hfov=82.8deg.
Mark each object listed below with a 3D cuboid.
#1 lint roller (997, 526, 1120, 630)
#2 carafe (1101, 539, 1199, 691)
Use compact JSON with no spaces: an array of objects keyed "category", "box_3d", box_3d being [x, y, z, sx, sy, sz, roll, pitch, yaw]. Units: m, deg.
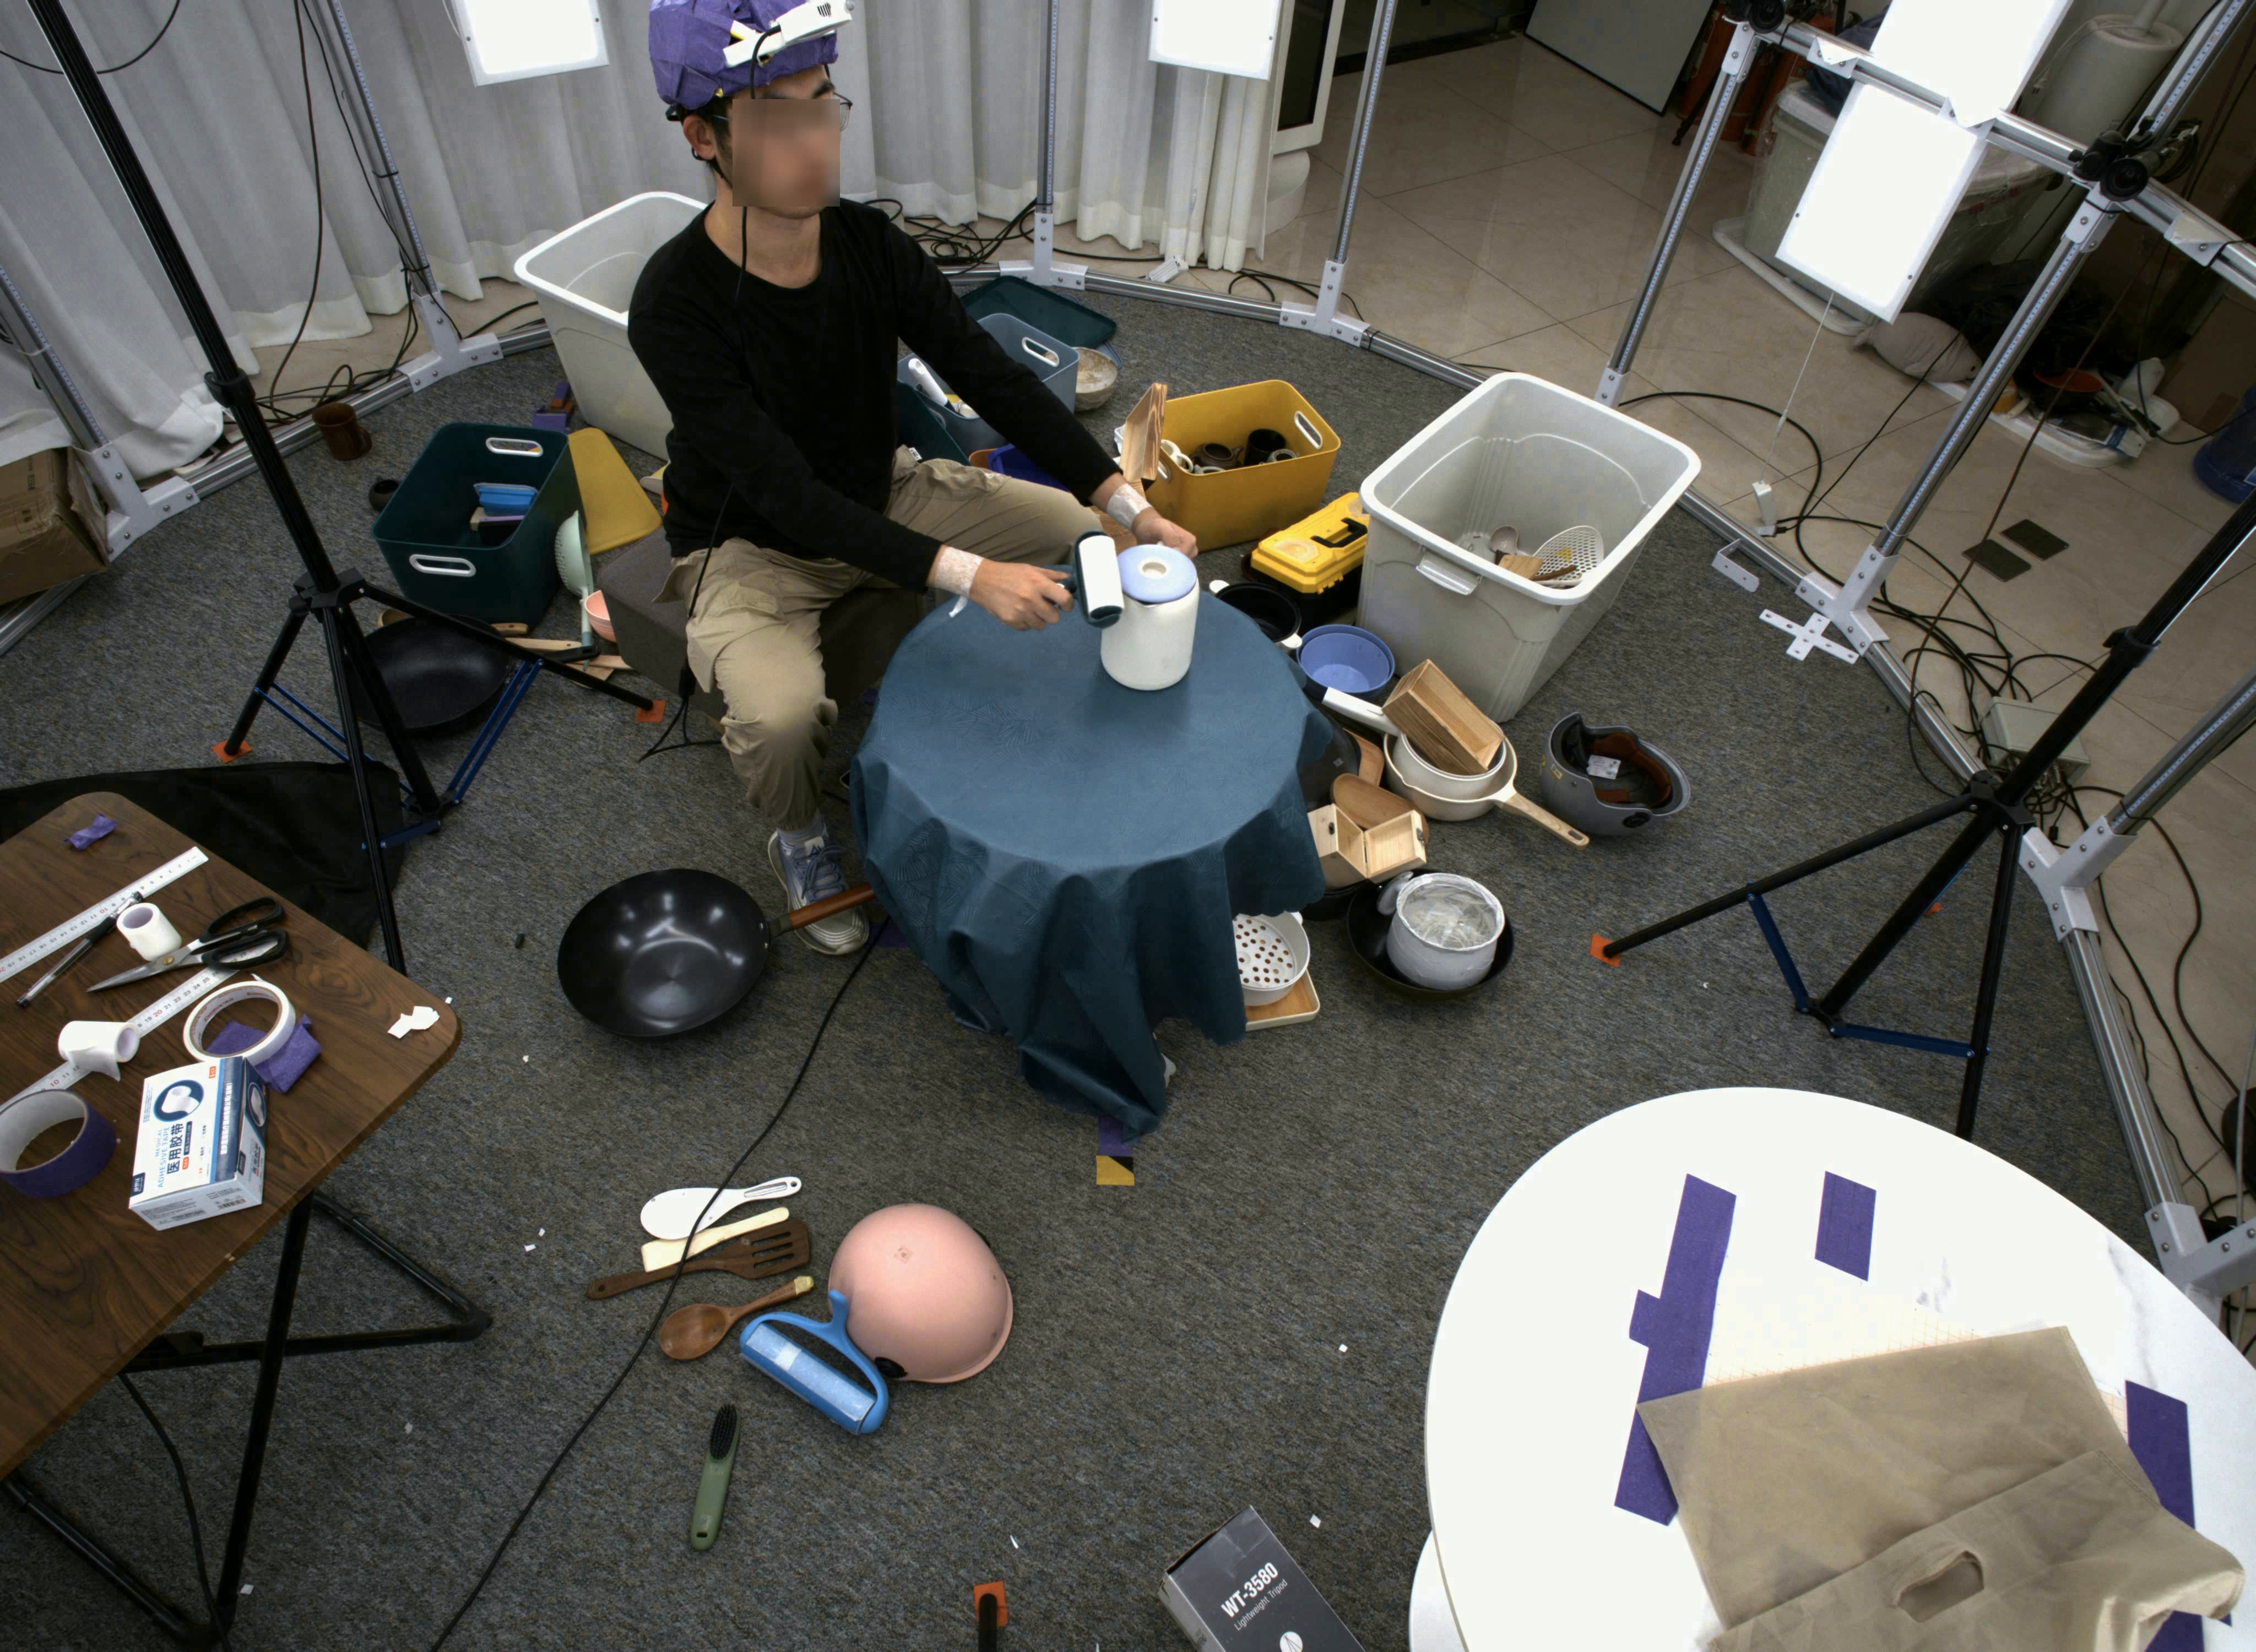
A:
[{"category":"lint roller","box_3d":[-0.102,-0.313,1.718,0.180,0.047,0.136,-12,73,17]},{"category":"carafe","box_3d":[0.033,-0.312,1.832,0.132,0.178,0.195,9,47,2]}]
